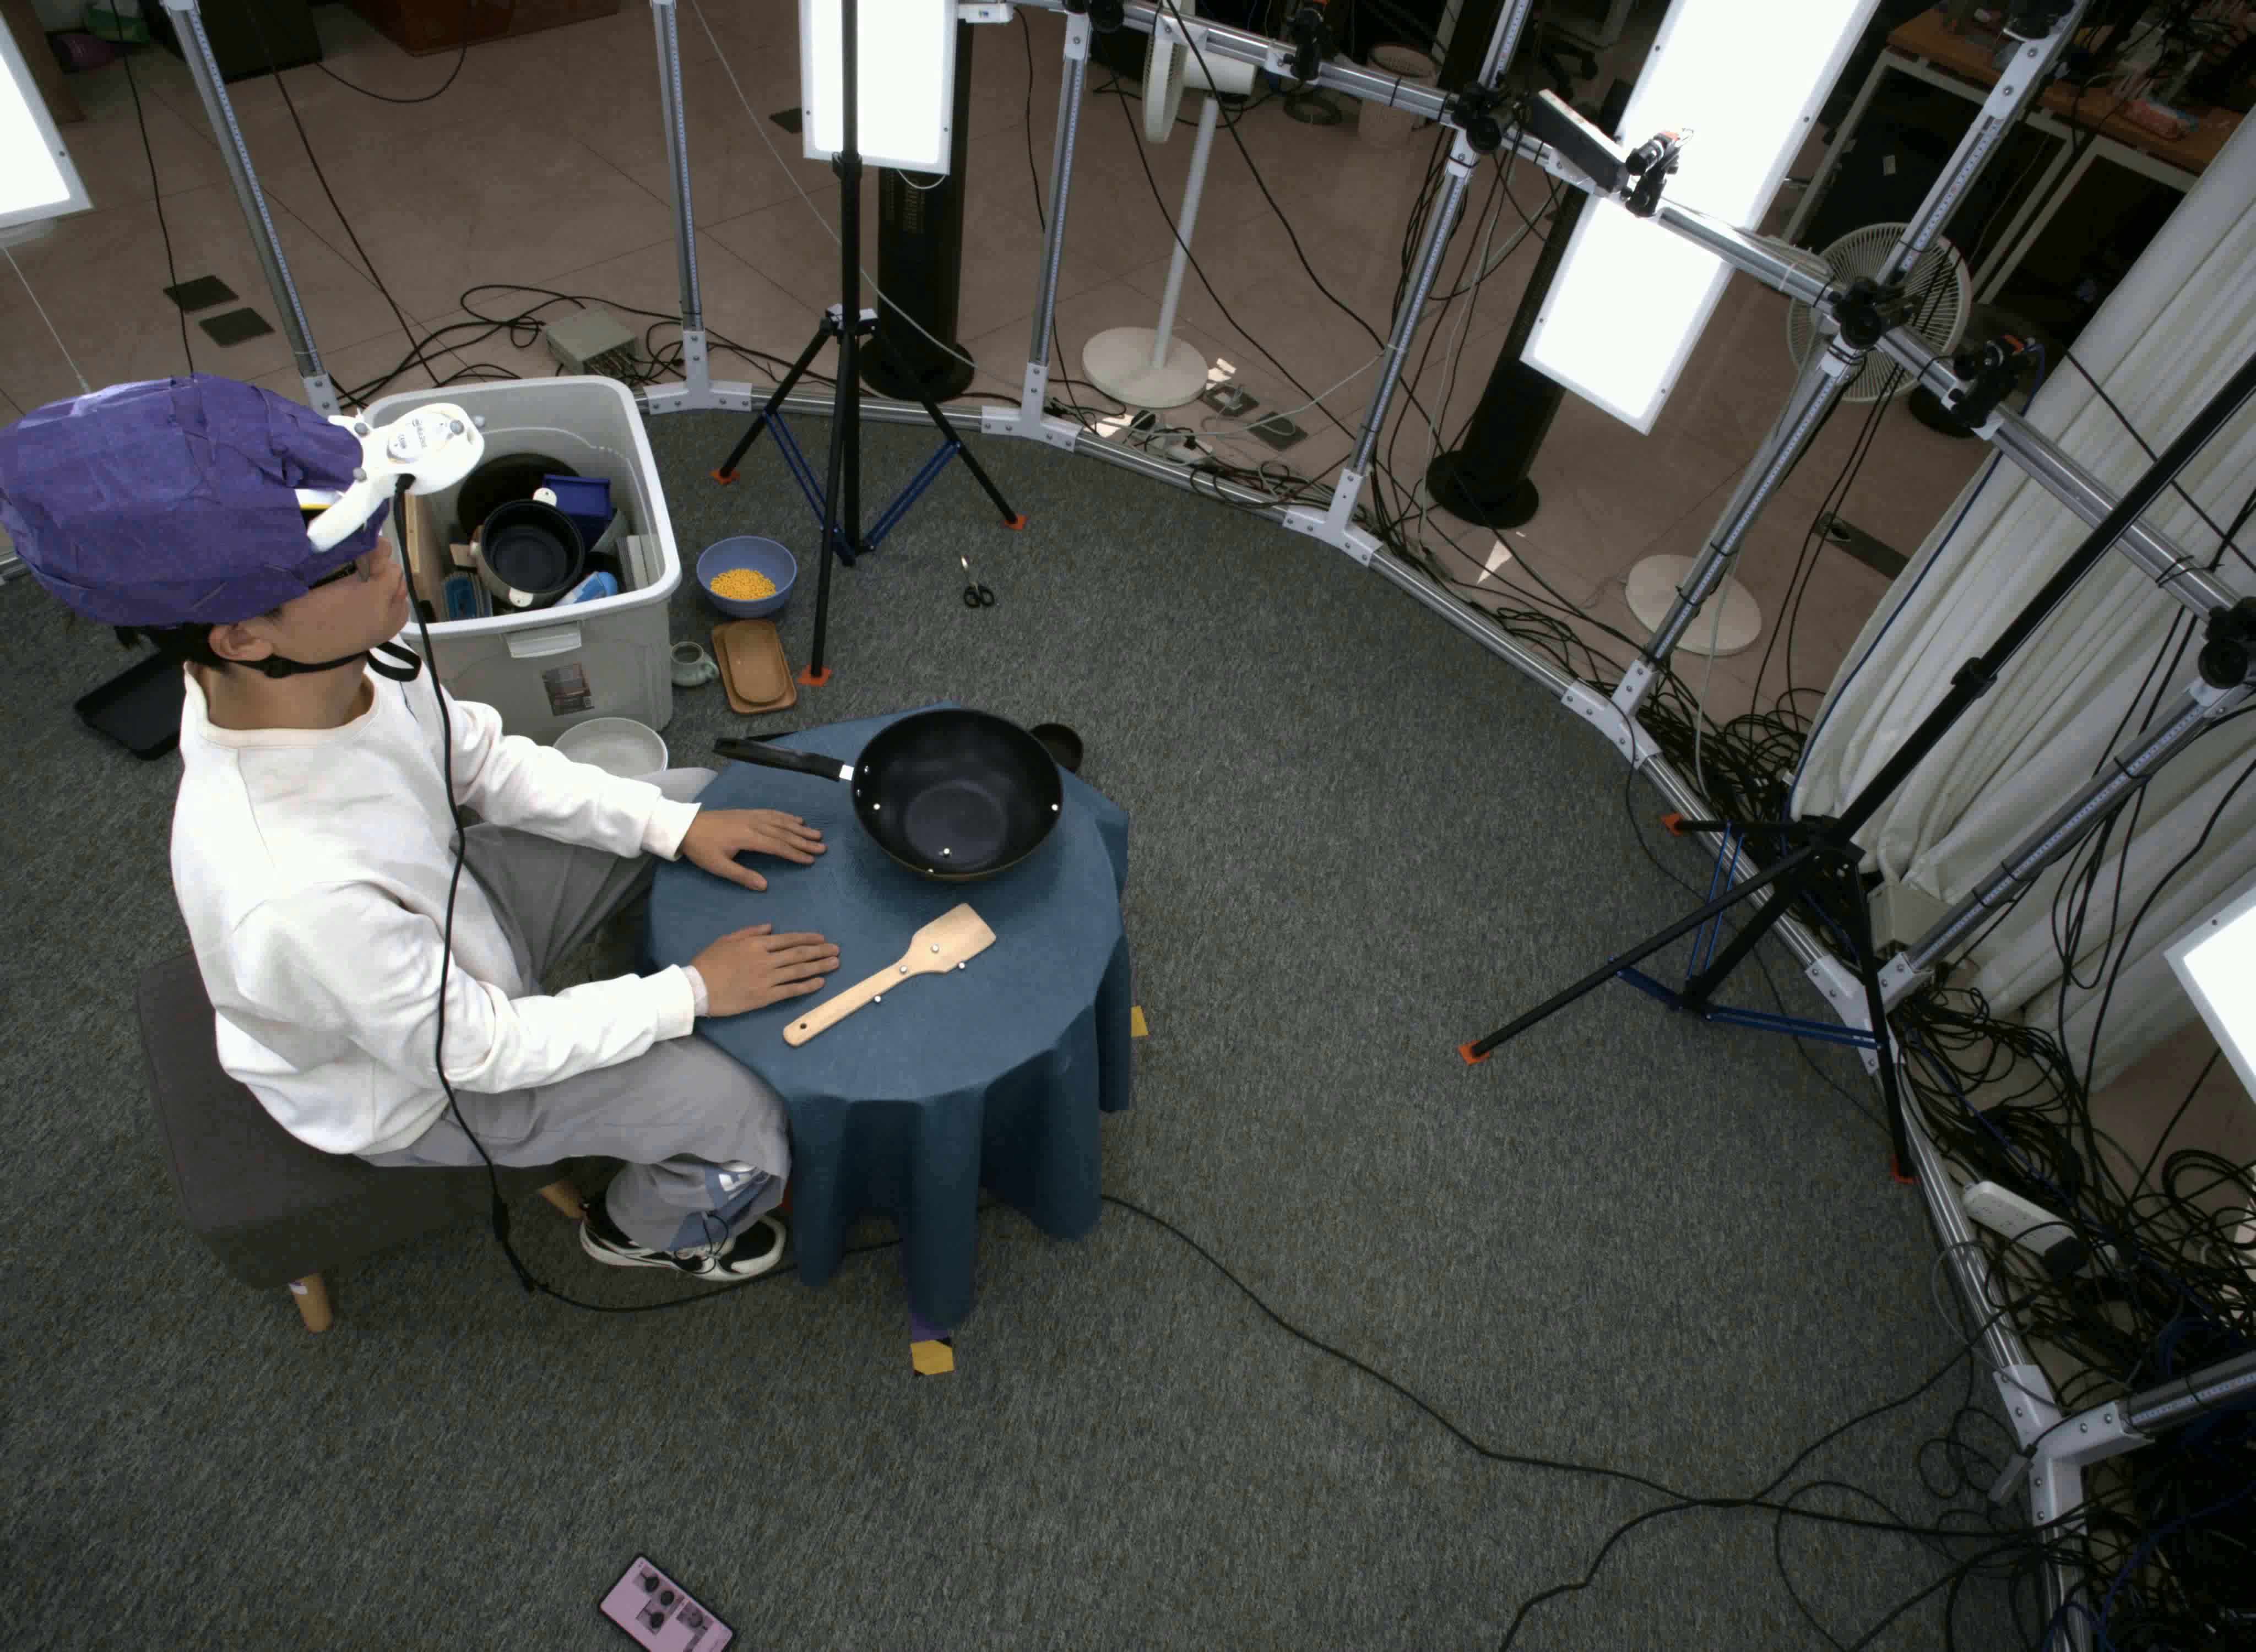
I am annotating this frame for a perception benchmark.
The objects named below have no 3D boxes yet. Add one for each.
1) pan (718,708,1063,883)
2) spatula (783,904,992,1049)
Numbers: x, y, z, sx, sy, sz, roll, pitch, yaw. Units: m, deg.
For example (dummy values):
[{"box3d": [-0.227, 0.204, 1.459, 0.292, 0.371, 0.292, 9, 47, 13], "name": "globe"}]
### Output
[{"box3d": [-0.317, -0.044, 1.740, 0.460, 0.089, 0.284, 10, 52, -4], "name": "pan"}, {"box3d": [-0.300, 0.190, 1.618, 0.294, 0.011, 0.070, -32, 68, -31], "name": "spatula"}]
